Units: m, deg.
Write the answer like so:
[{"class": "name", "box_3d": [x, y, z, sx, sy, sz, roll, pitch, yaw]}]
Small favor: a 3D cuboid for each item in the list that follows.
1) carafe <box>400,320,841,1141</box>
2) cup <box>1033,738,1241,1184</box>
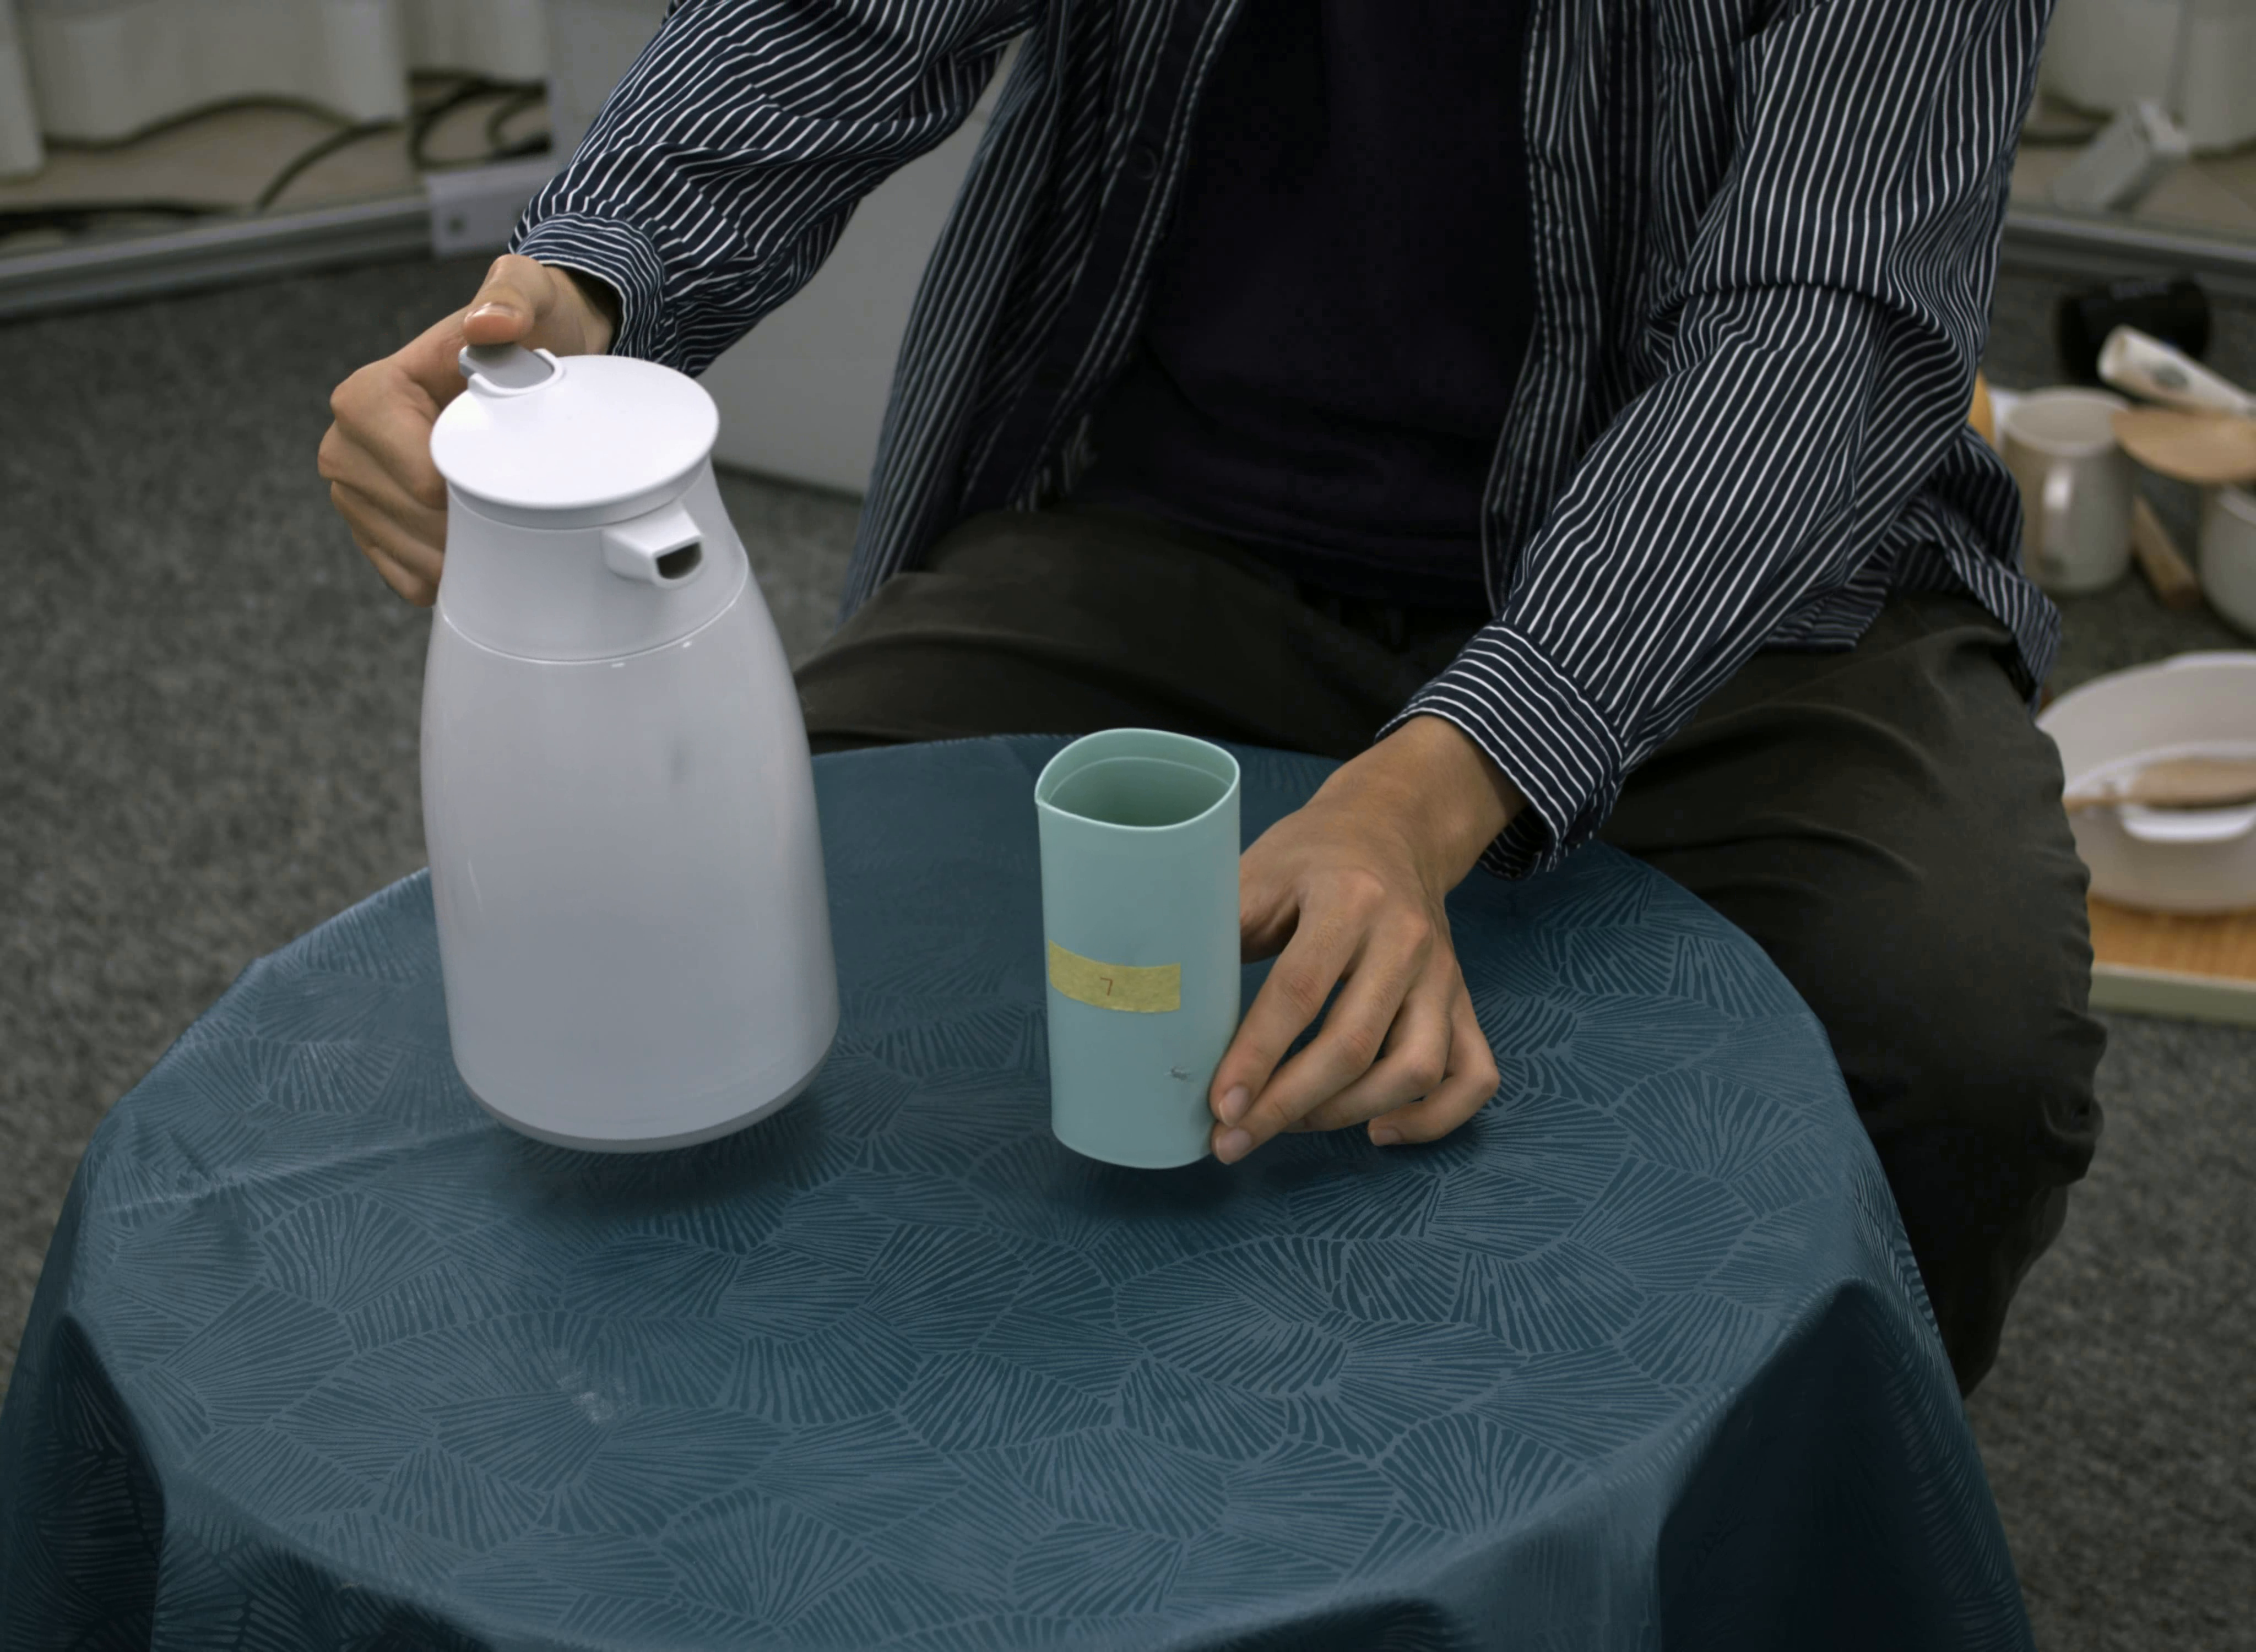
[{"class": "carafe", "box_3d": [-0.182, -0.042, 1.841, 0.134, 0.245, 0.168, -26, 39, -29]}, {"class": "cup", "box_3d": [0.004, 0.043, 1.826, 0.066, 0.131, 0.068, -1, 28, 1]}]
